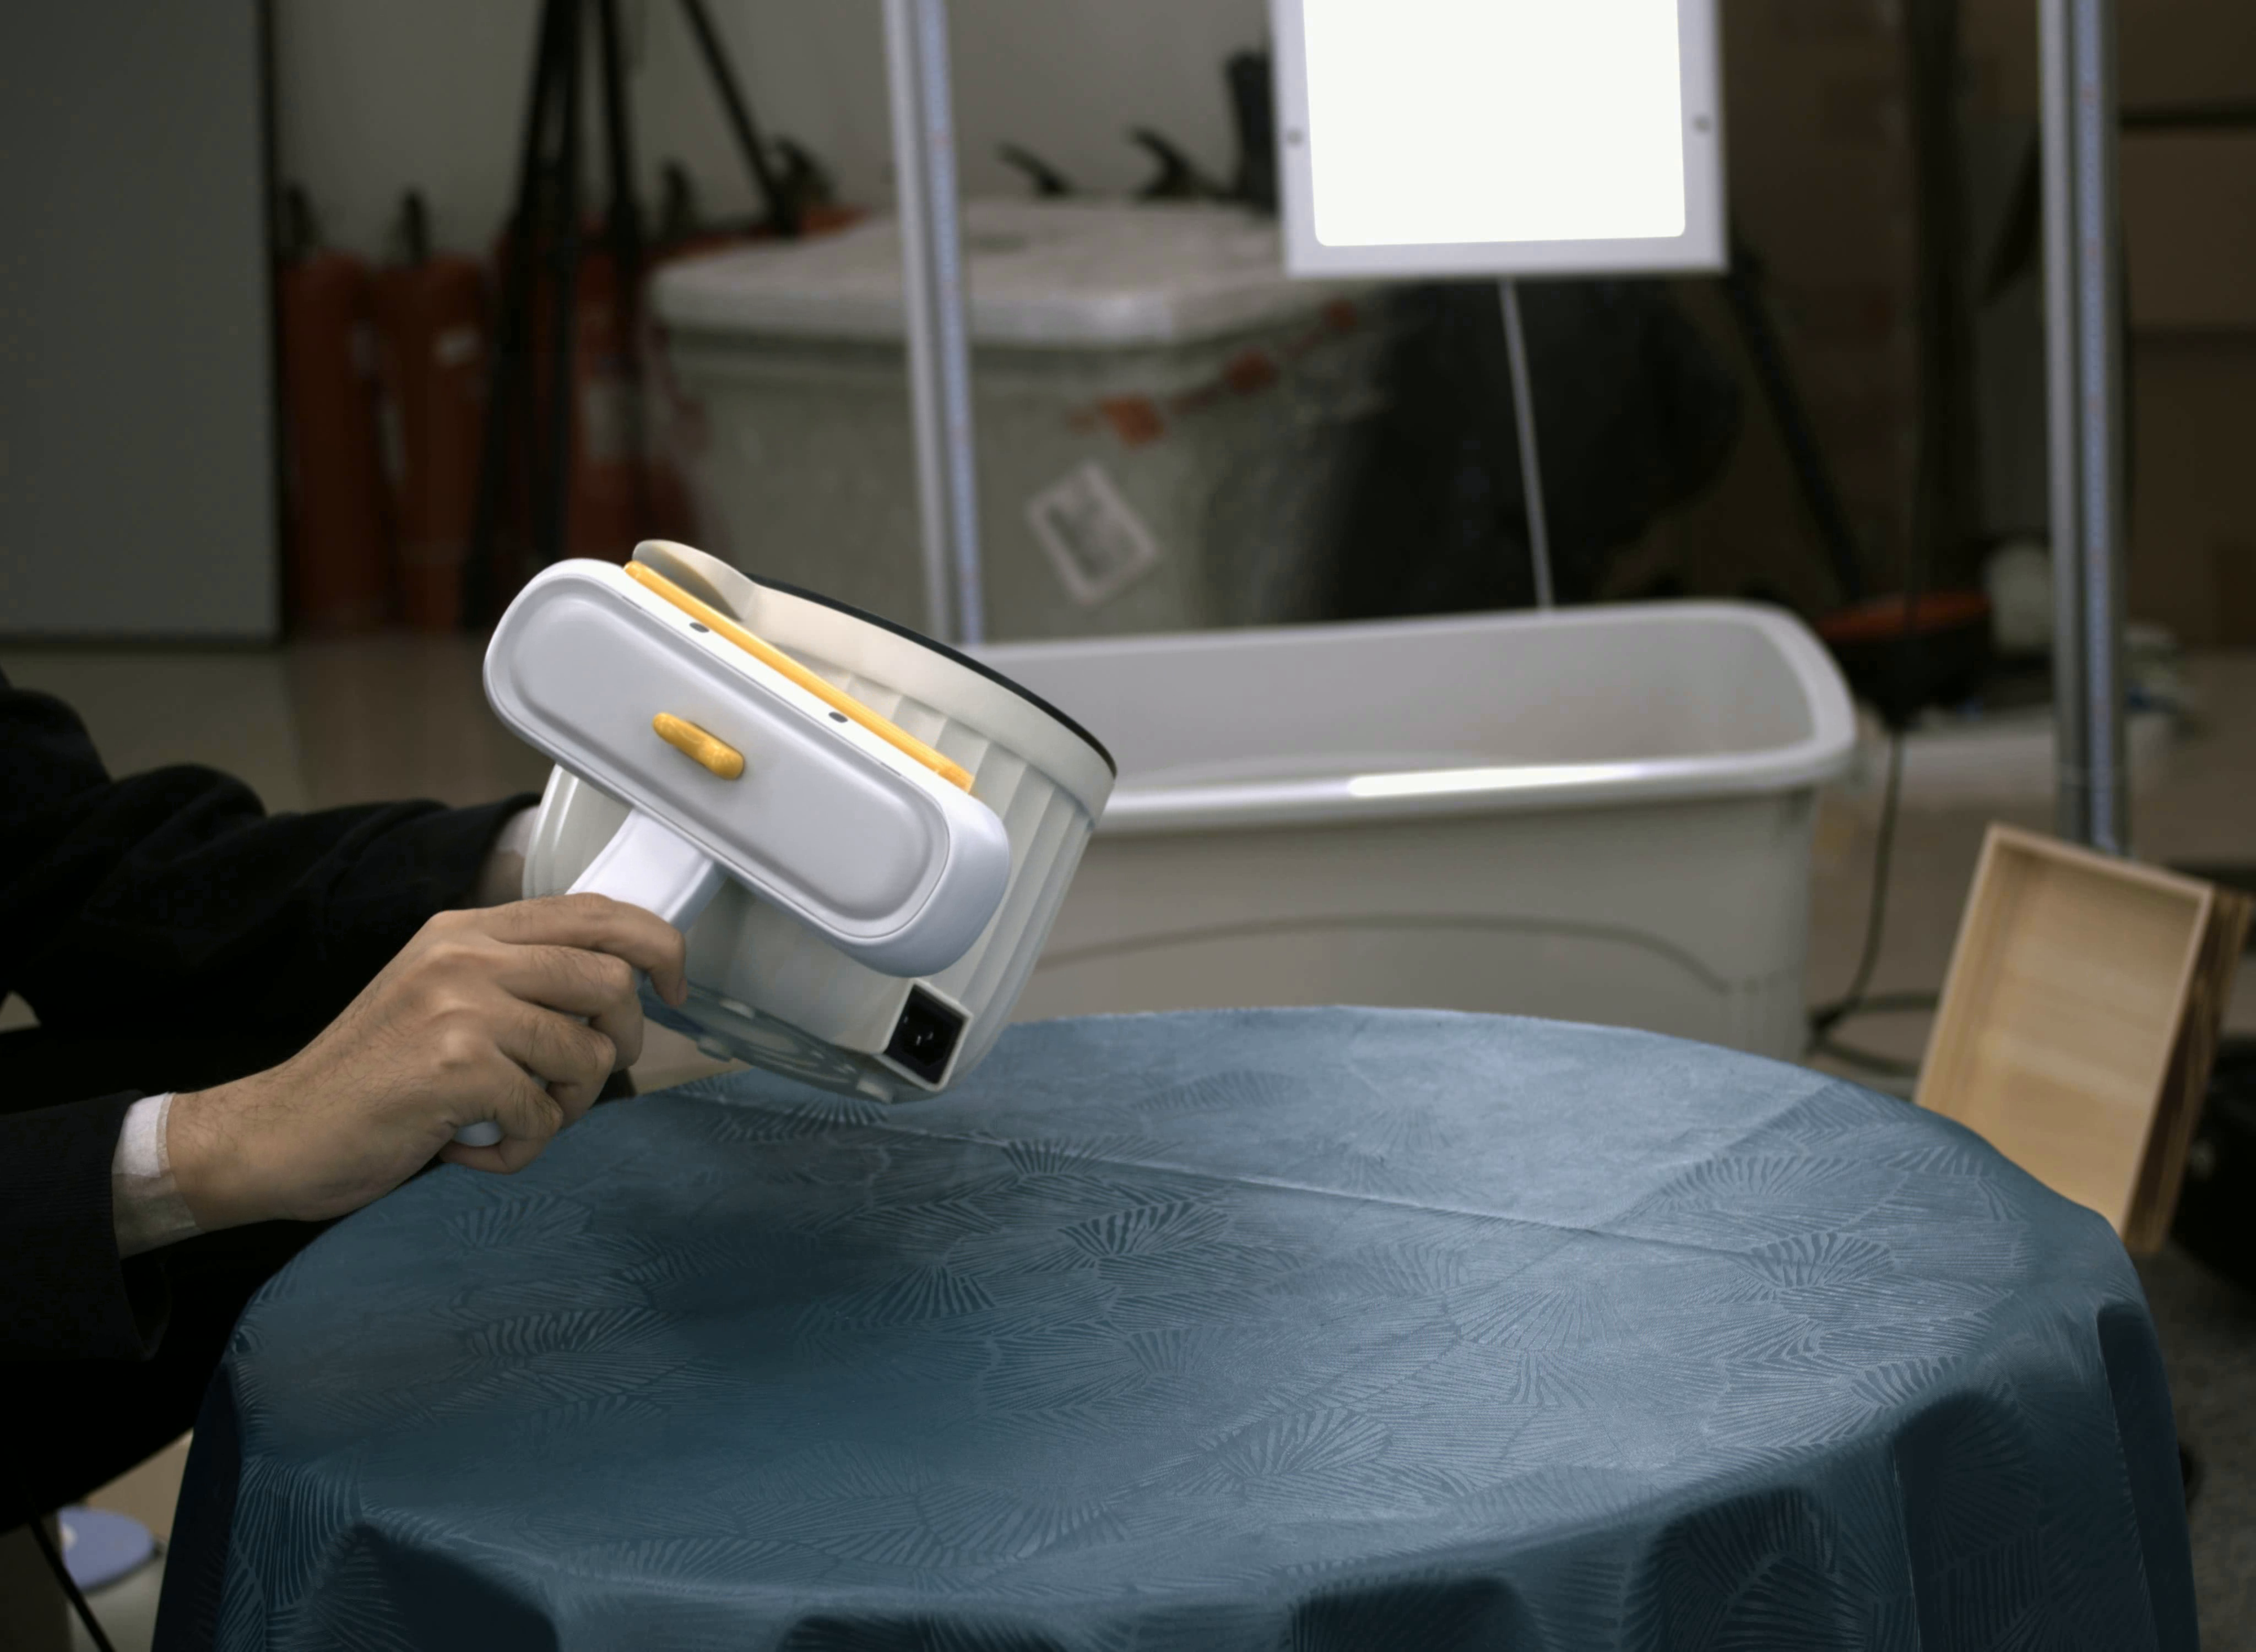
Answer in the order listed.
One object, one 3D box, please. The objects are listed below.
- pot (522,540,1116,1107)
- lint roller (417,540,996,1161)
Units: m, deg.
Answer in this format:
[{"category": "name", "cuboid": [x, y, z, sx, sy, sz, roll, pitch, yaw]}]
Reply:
[{"category": "pot", "cuboid": [-0.117, 0.008, 1.886, 0.194, 0.142, 0.236, 16, -14, 41]}, {"category": "lint roller", "cuboid": [-0.161, 0.023, 1.762, 0.194, 0.192, 0.073, 29, -5, 15]}]
